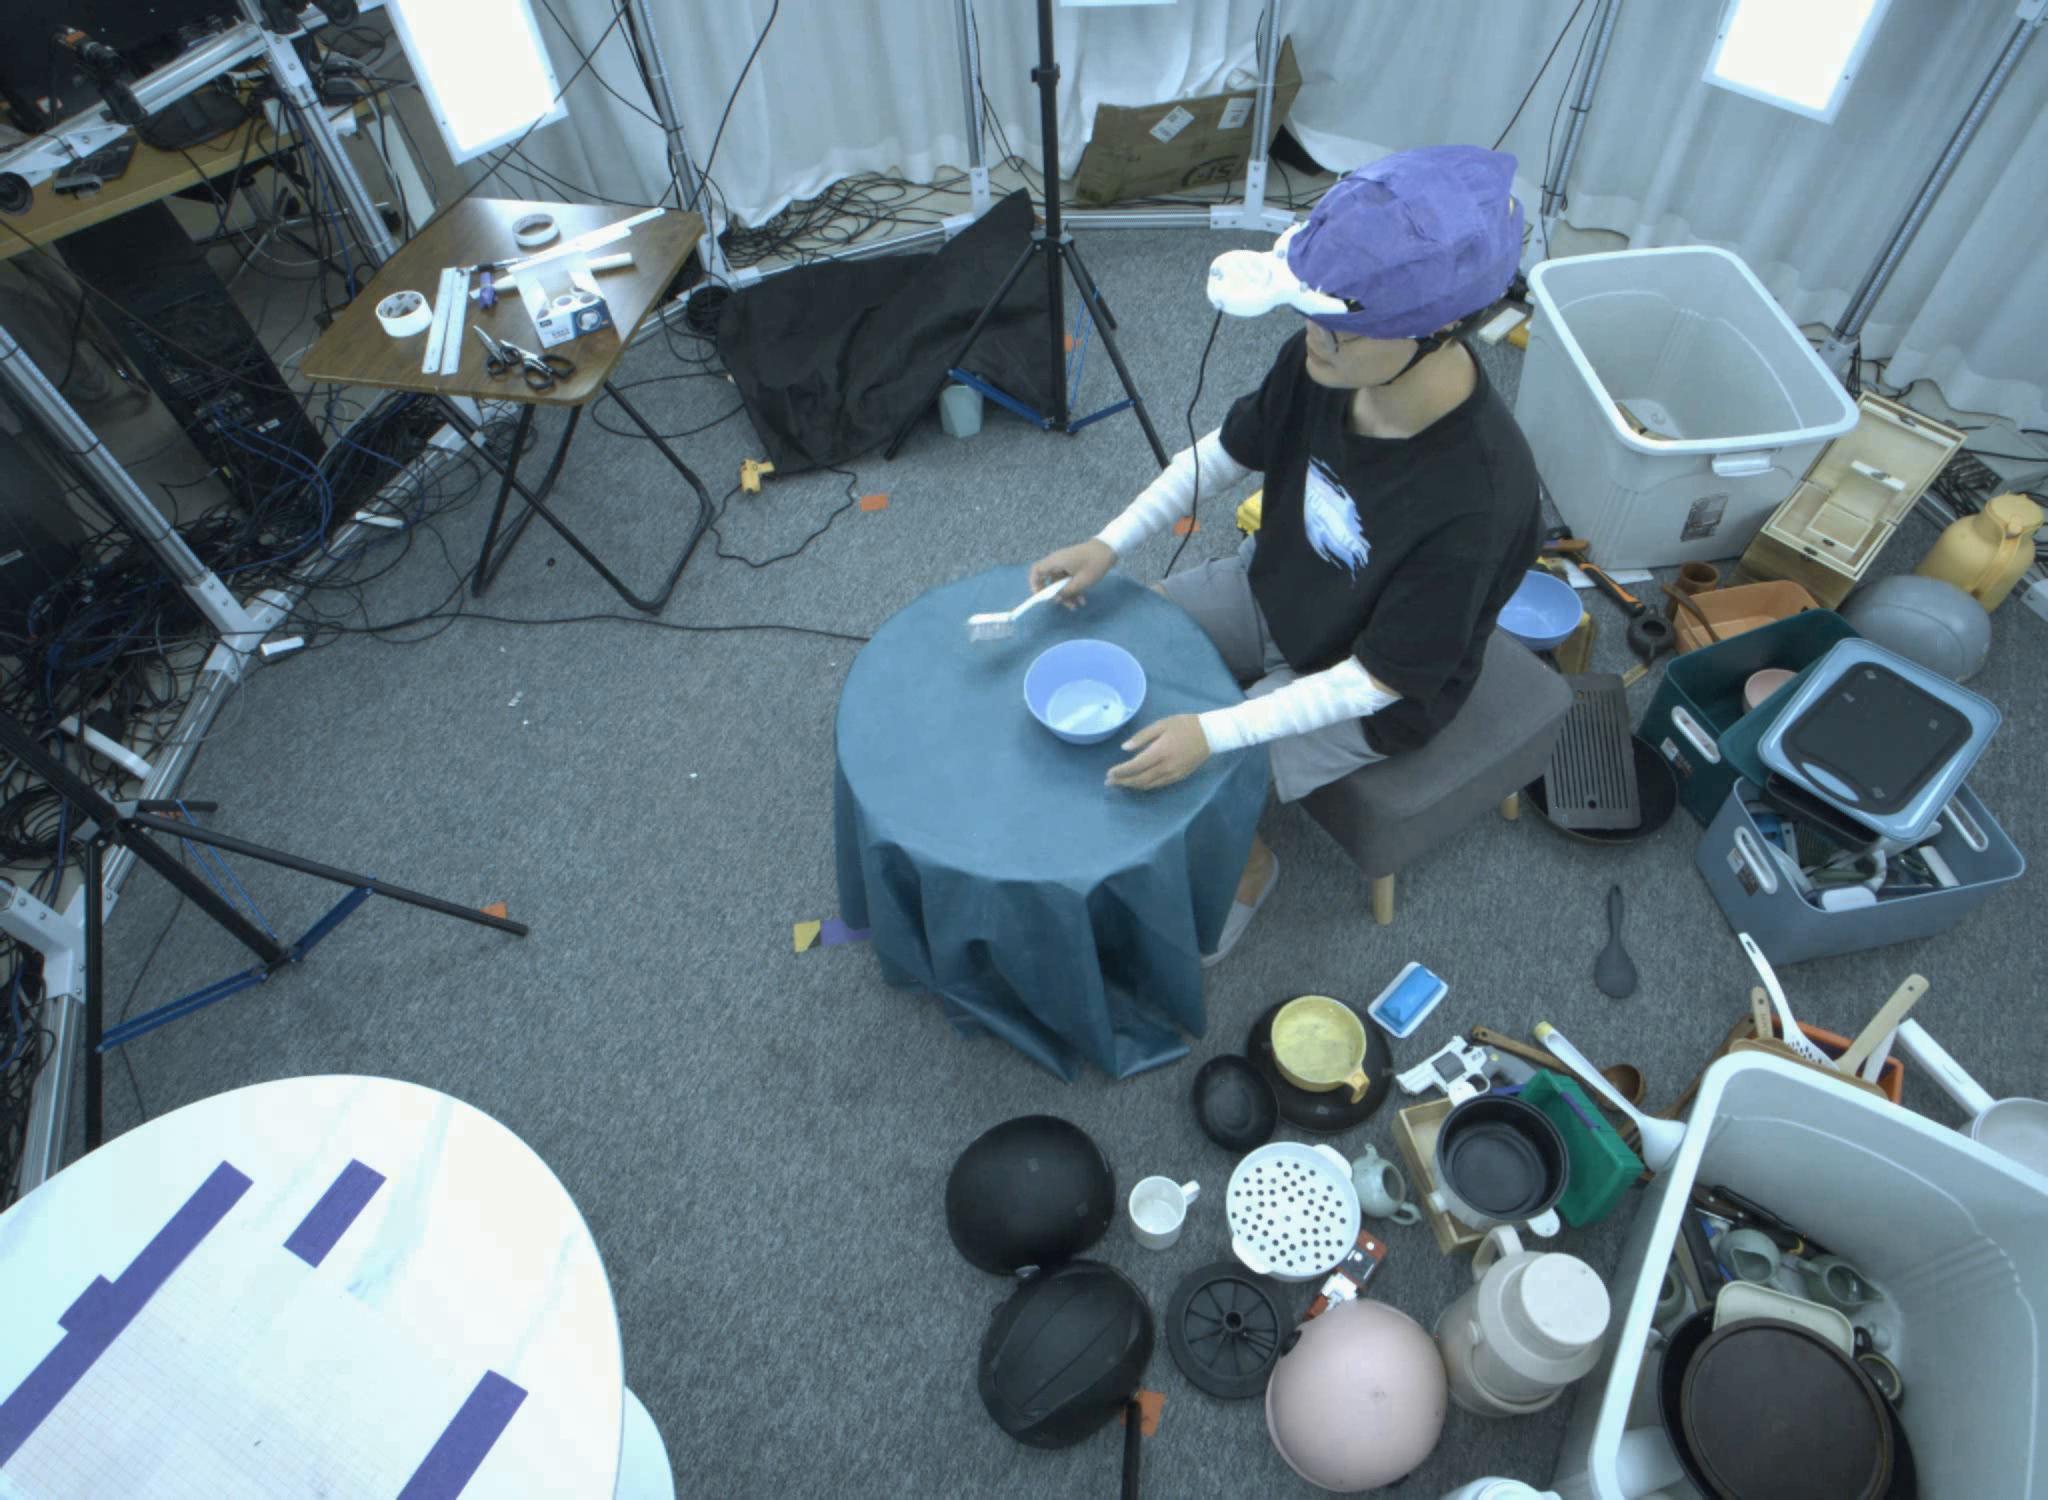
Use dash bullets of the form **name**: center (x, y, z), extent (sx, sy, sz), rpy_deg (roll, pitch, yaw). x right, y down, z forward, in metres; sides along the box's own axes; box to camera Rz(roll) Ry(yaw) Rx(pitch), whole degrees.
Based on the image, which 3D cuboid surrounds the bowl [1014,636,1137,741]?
- **bowl**: center (0.075, -0.079, 1.788), extent (0.176, 0.071, 0.174), rpy_deg (0, 55, 1)

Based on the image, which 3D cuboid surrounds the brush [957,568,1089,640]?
- **brush**: center (0.005, -0.221, 1.875), extent (0.246, 0.034, 0.050), rpy_deg (-24, 79, -23)
